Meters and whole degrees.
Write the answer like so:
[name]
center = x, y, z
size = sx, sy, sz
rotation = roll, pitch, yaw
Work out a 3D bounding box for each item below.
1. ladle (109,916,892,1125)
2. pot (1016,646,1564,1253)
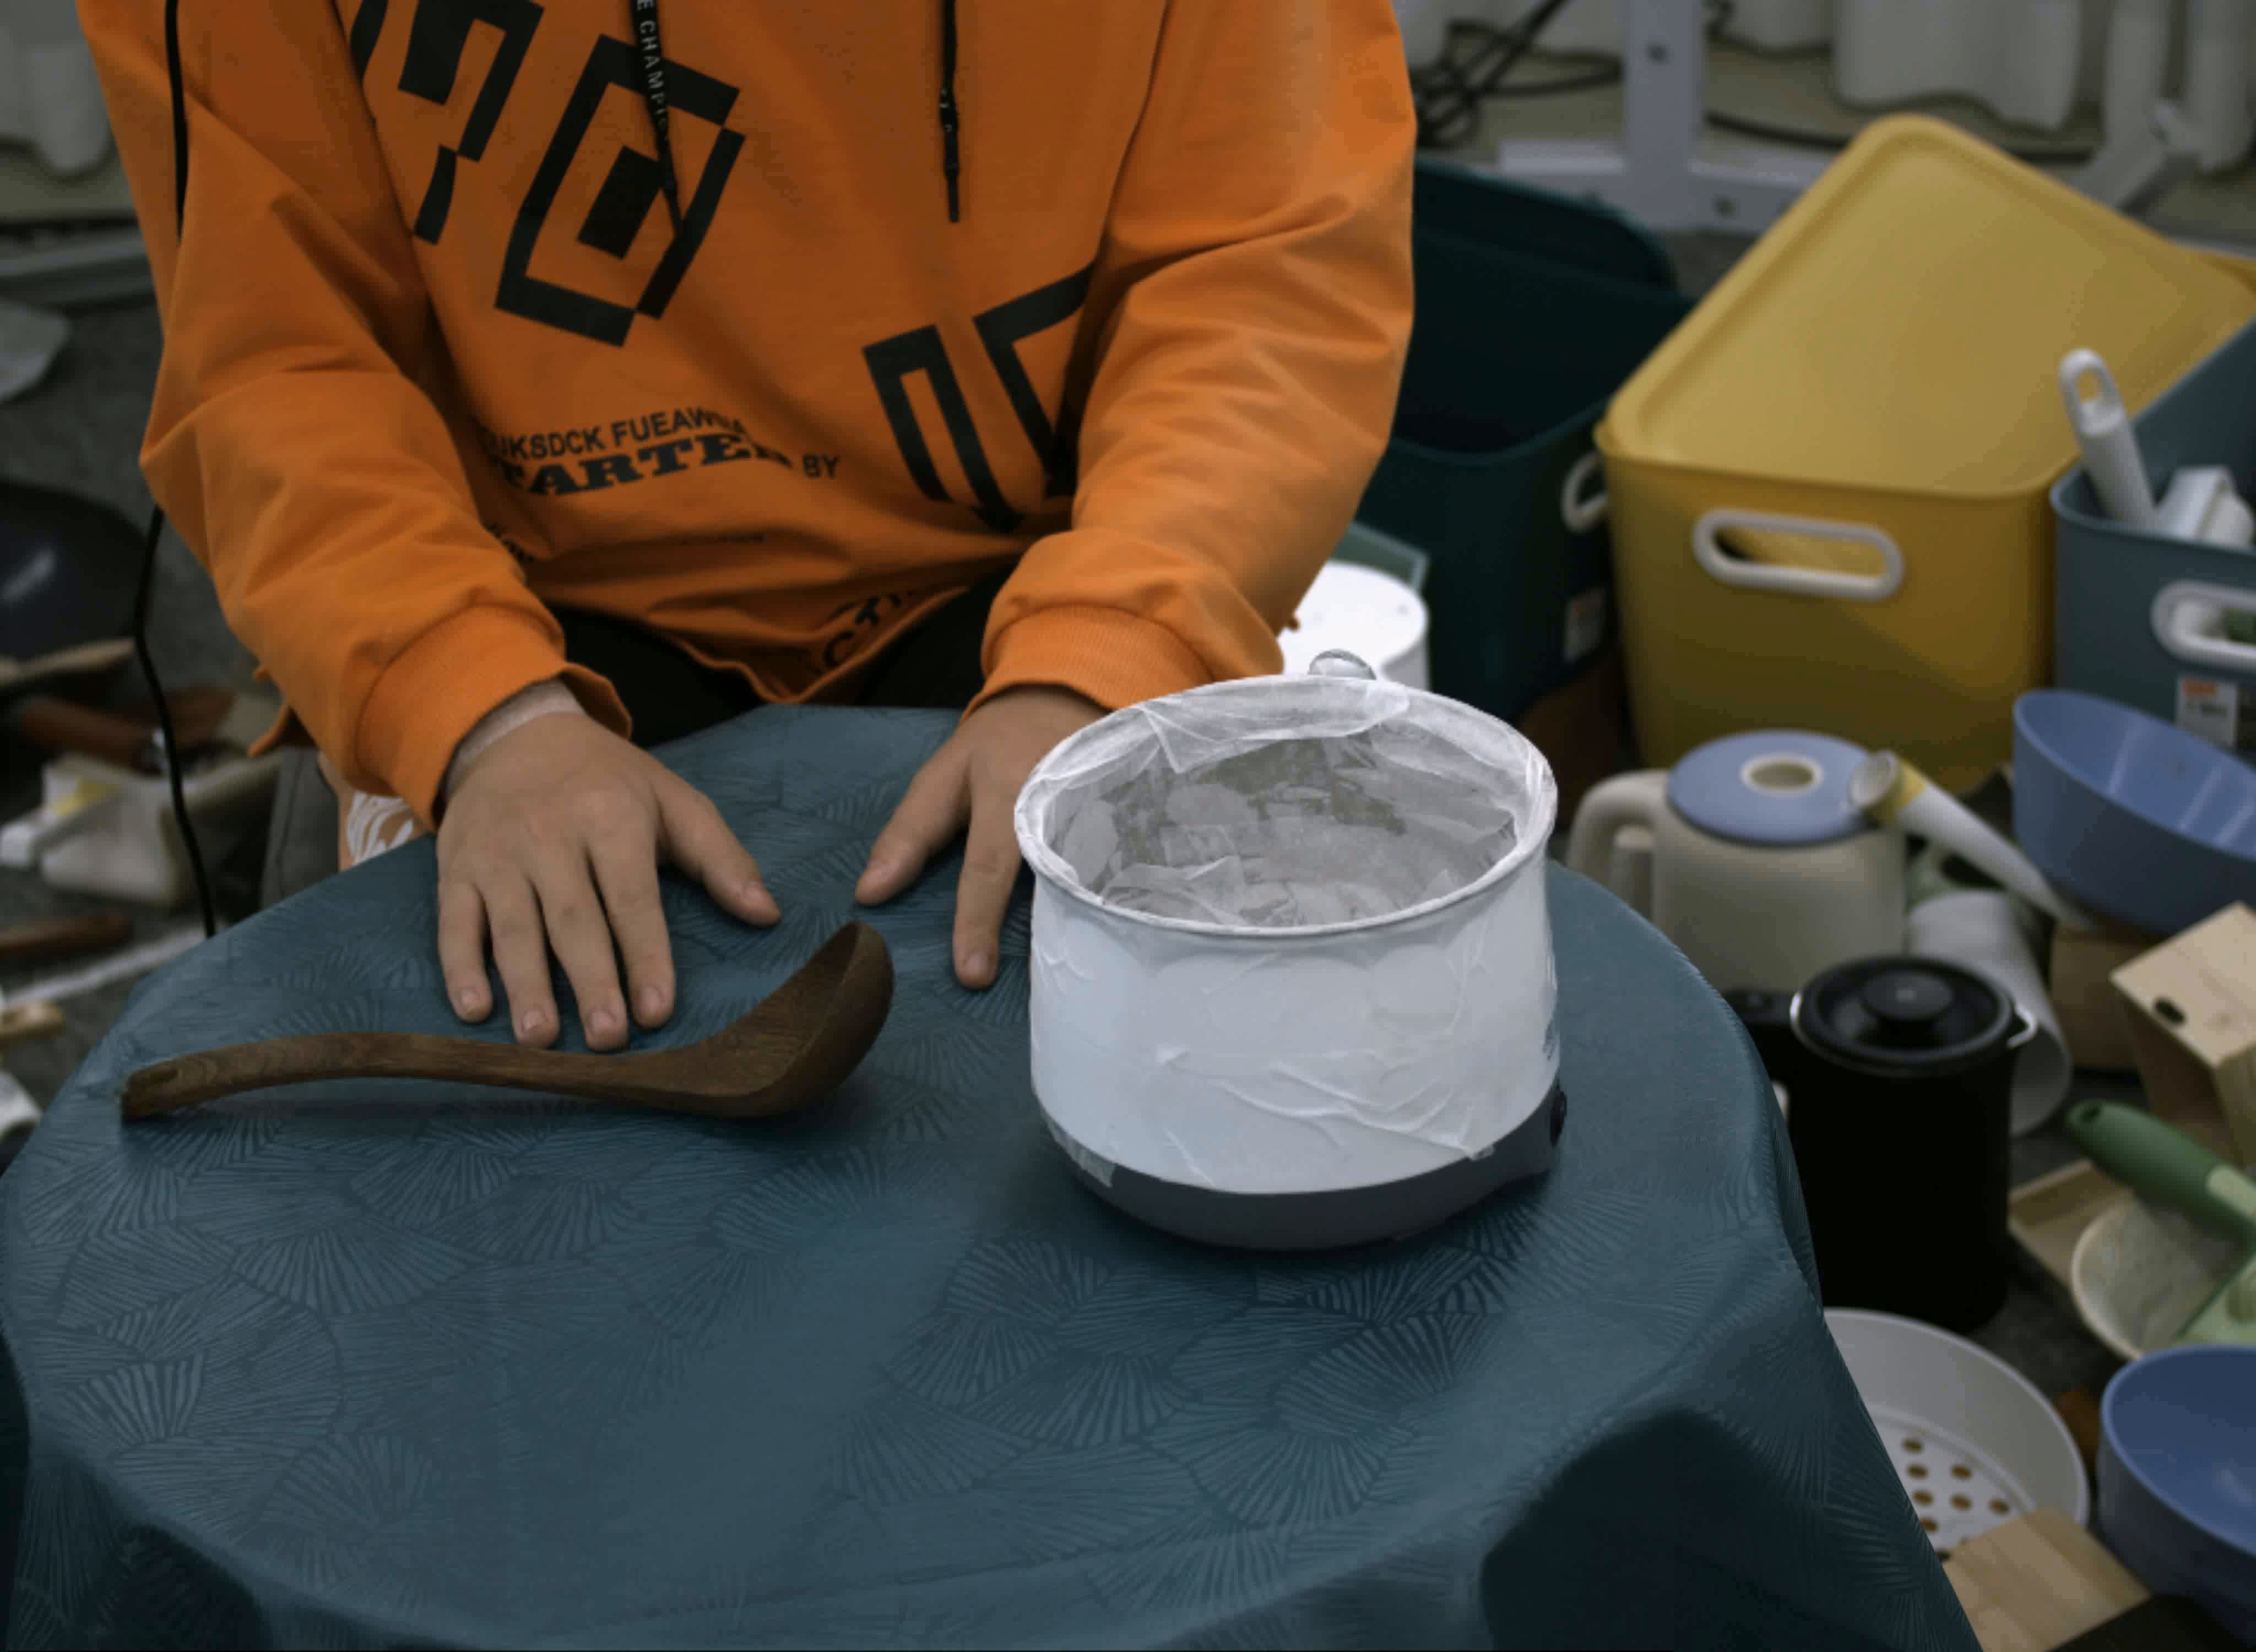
[ladle]
center = -0.215, 0.067, 1.914
size = 0.272, 0.070, 0.077
rotation = 0, 24, 4
[pot]
center = 0.059, 0.034, 1.878
size = 0.177, 0.135, 0.238
rotation = 3, 28, 10
